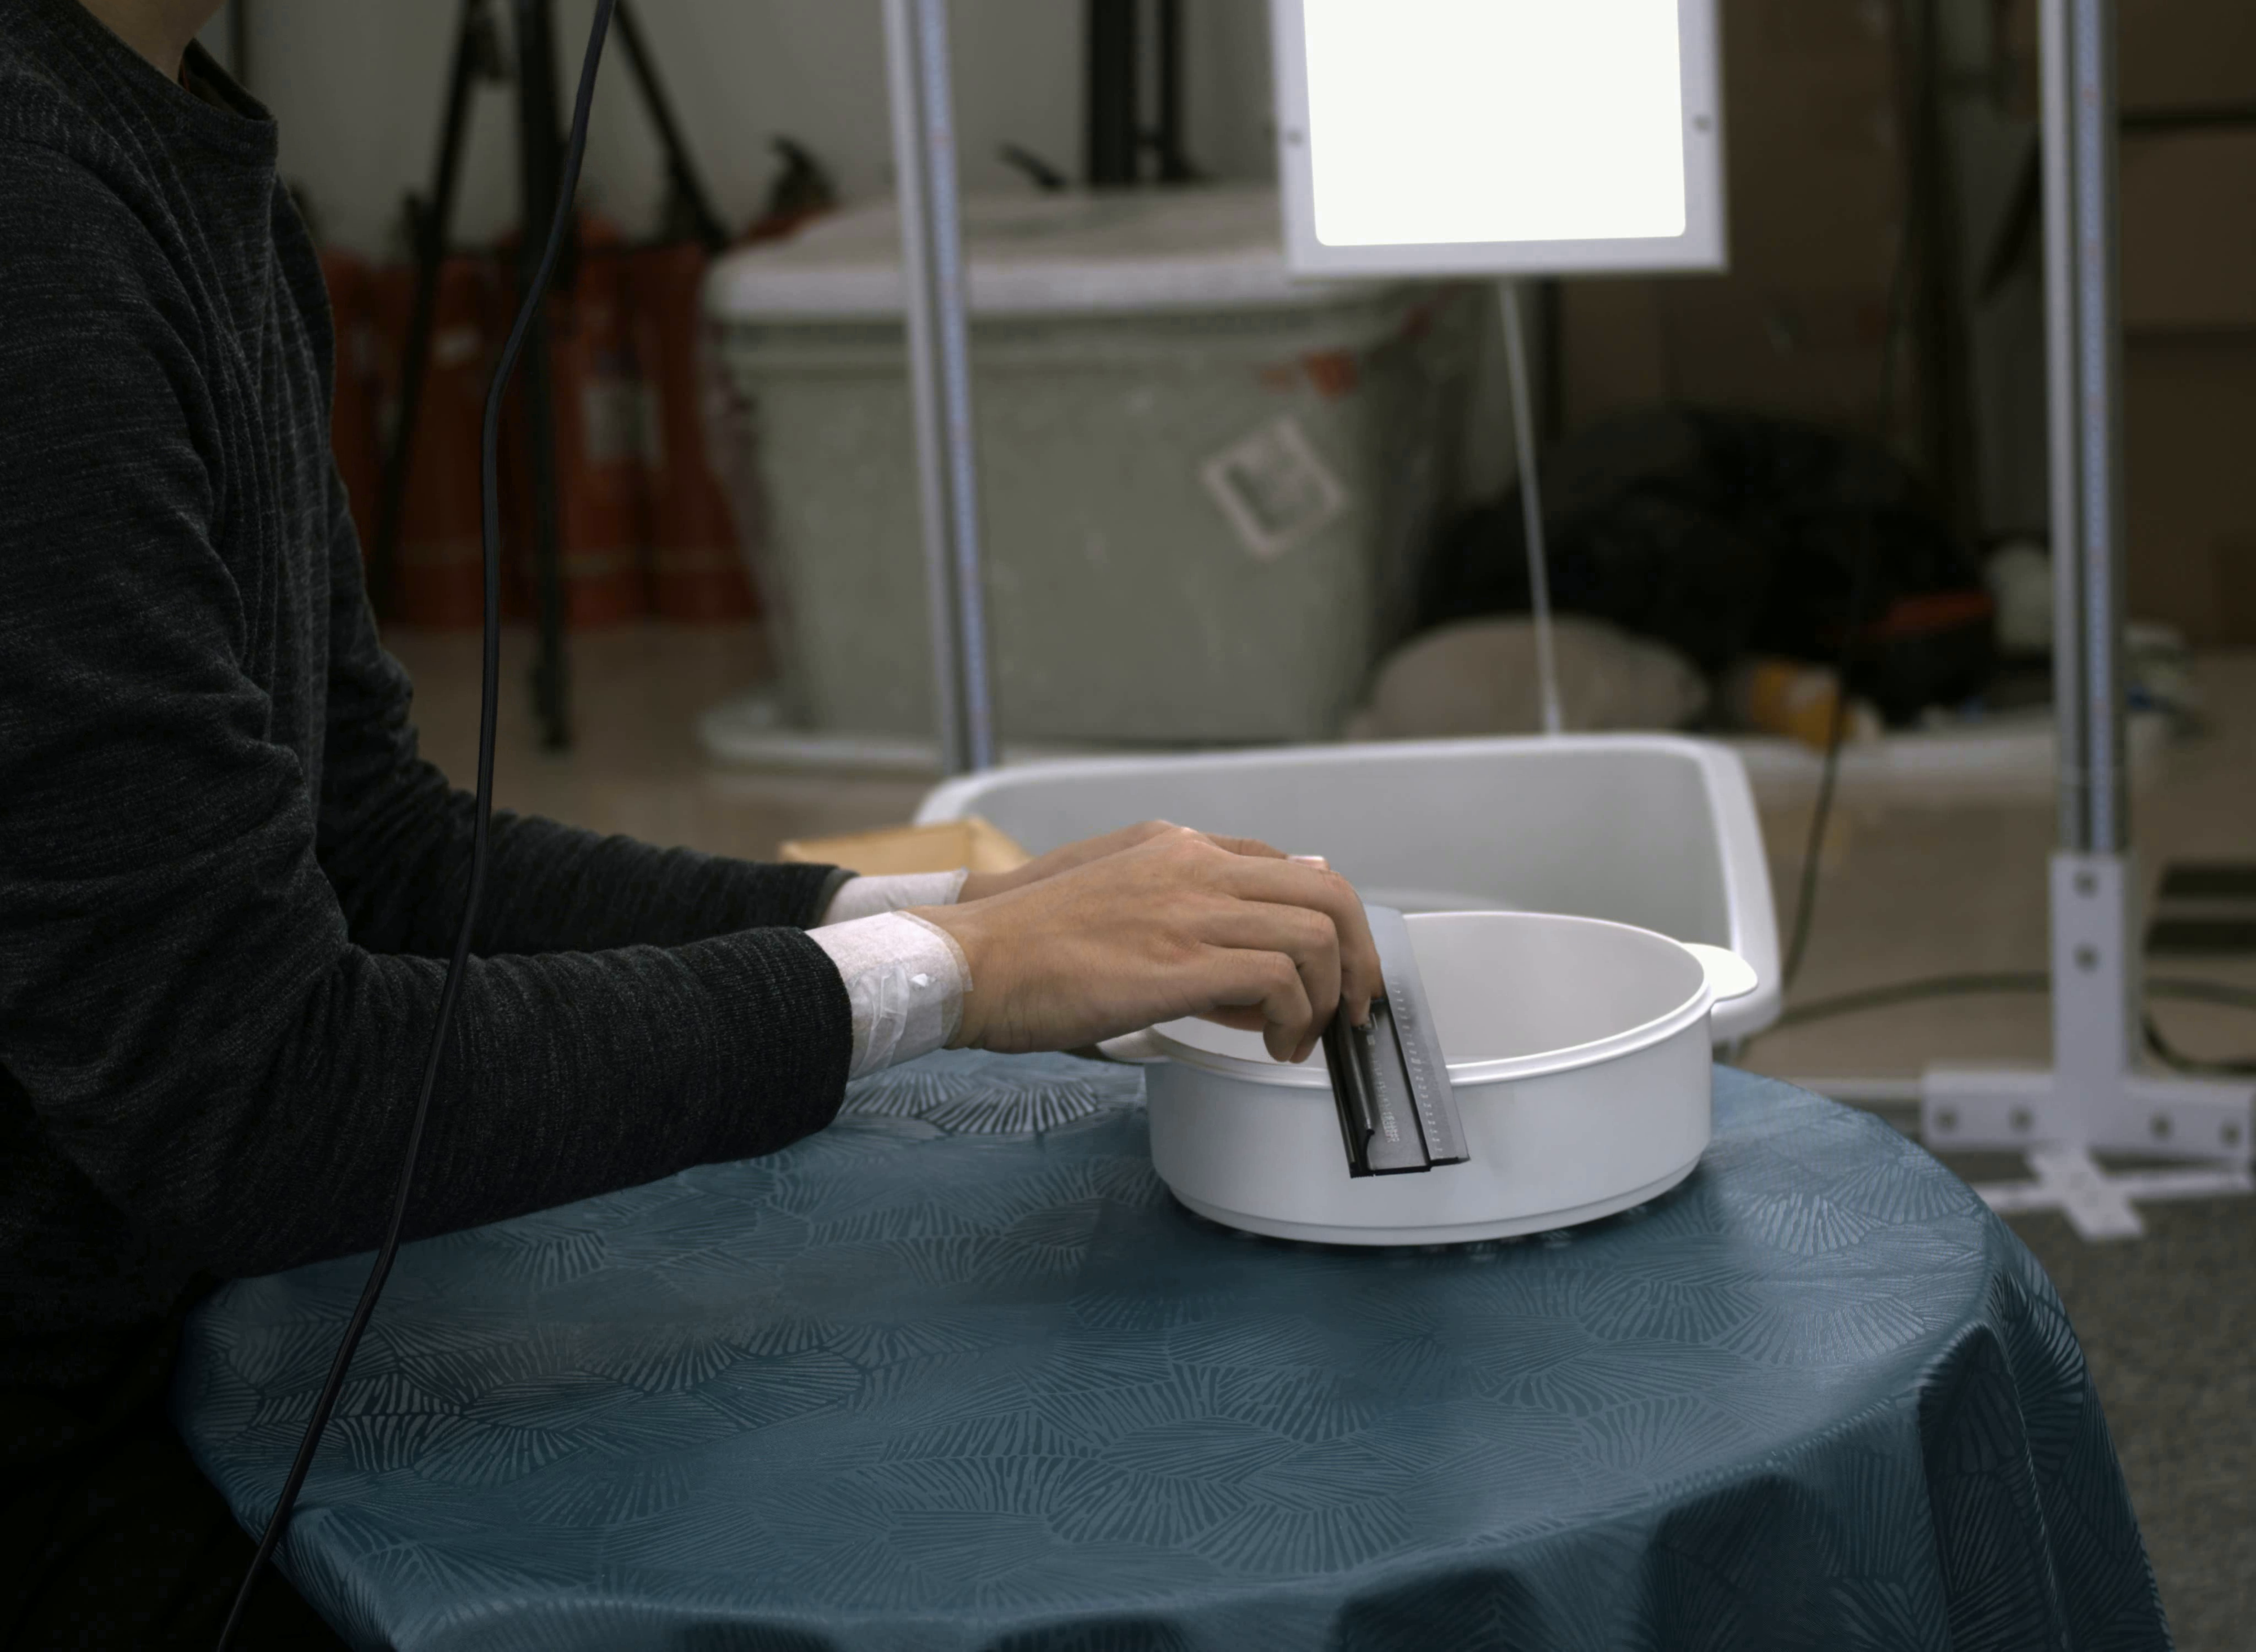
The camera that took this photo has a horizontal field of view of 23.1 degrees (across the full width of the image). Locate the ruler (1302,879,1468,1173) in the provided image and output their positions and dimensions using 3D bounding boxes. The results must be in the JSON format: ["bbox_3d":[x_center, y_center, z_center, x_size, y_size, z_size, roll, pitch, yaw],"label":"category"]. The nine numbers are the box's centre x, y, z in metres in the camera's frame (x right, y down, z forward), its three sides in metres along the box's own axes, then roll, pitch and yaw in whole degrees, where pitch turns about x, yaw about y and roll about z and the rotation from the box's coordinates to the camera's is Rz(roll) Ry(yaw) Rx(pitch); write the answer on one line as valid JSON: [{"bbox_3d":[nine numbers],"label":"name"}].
[{"bbox_3d":[0.084,0.061,1.820,0.039,0.017,0.312,-1,14,-1],"label":"ruler"}]

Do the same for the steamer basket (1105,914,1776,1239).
[{"bbox_3d":[0.108,0.085,1.882,0.229,0.069,0.202,-4,13,-6],"label":"steamer basket"}]
